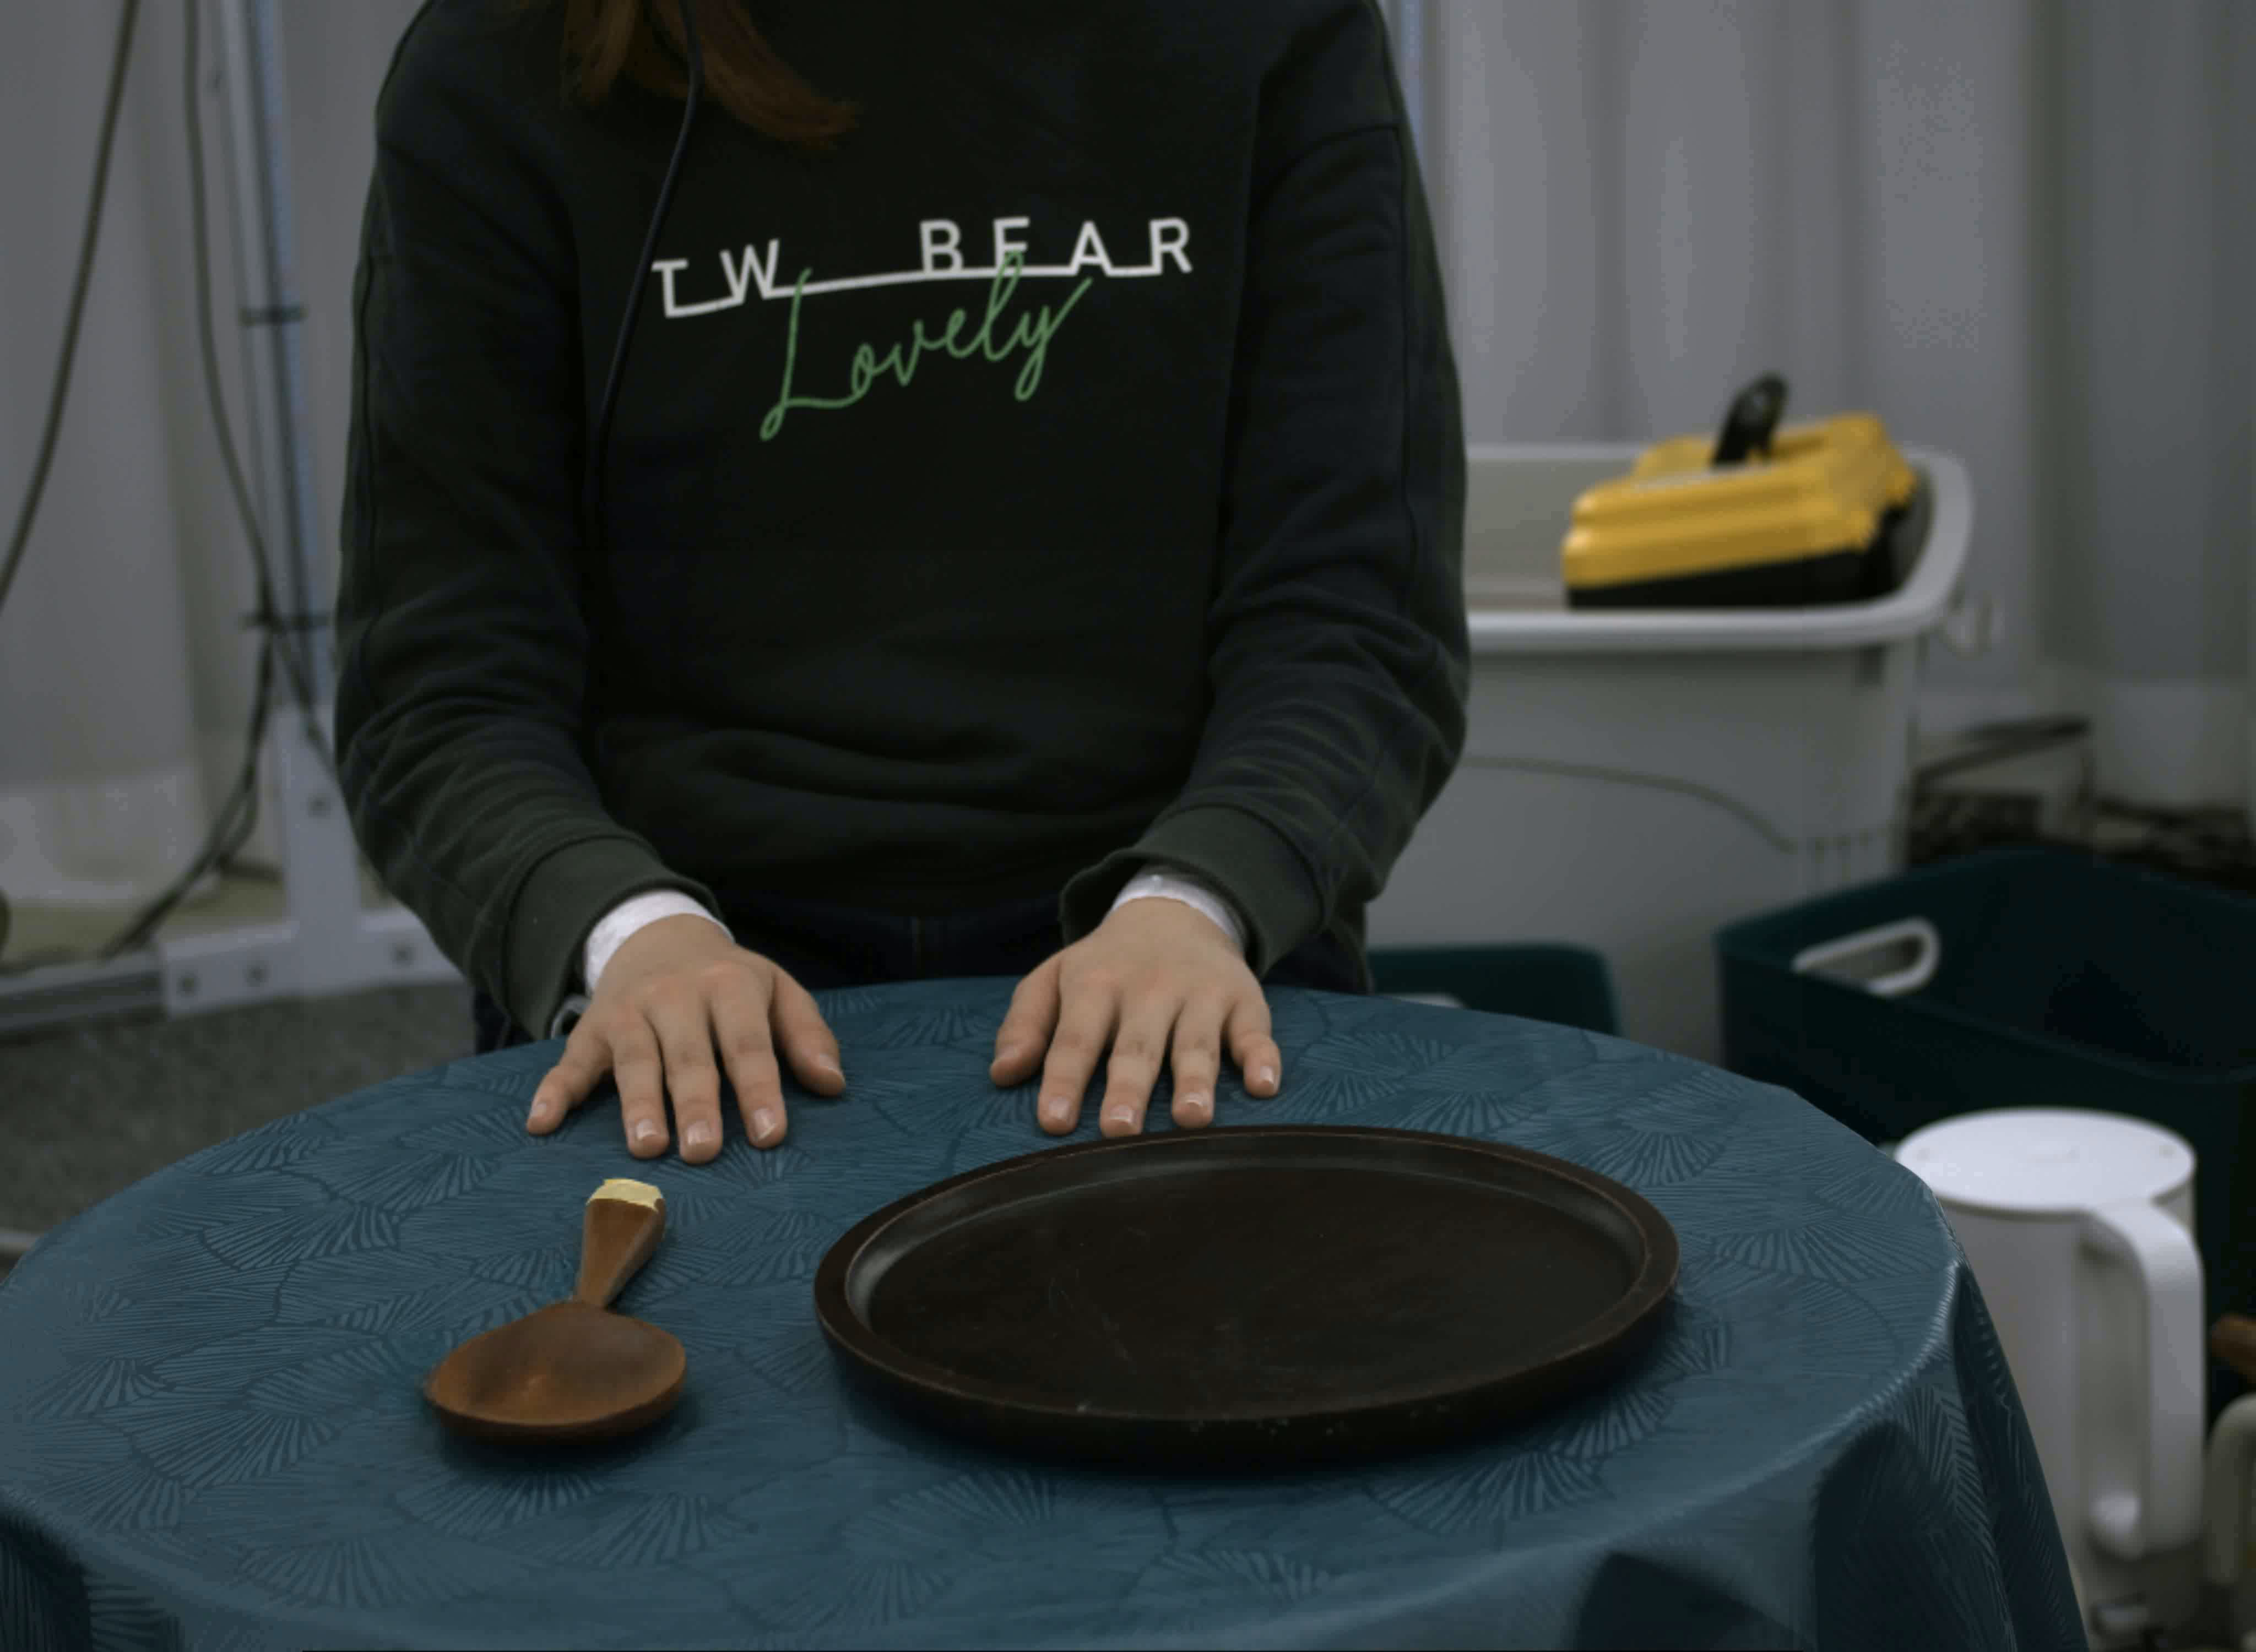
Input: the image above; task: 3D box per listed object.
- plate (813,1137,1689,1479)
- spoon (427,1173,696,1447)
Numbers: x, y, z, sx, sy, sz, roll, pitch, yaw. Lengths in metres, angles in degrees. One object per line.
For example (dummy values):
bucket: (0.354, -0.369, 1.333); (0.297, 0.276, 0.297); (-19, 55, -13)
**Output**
plate: (0.035, 0.136, 1.585); (0.254, 0.029, 0.256); (-2, 16, 0)
spoon: (-0.158, 0.143, 1.605); (0.075, 0.017, 0.217); (-2, 15, 2)
